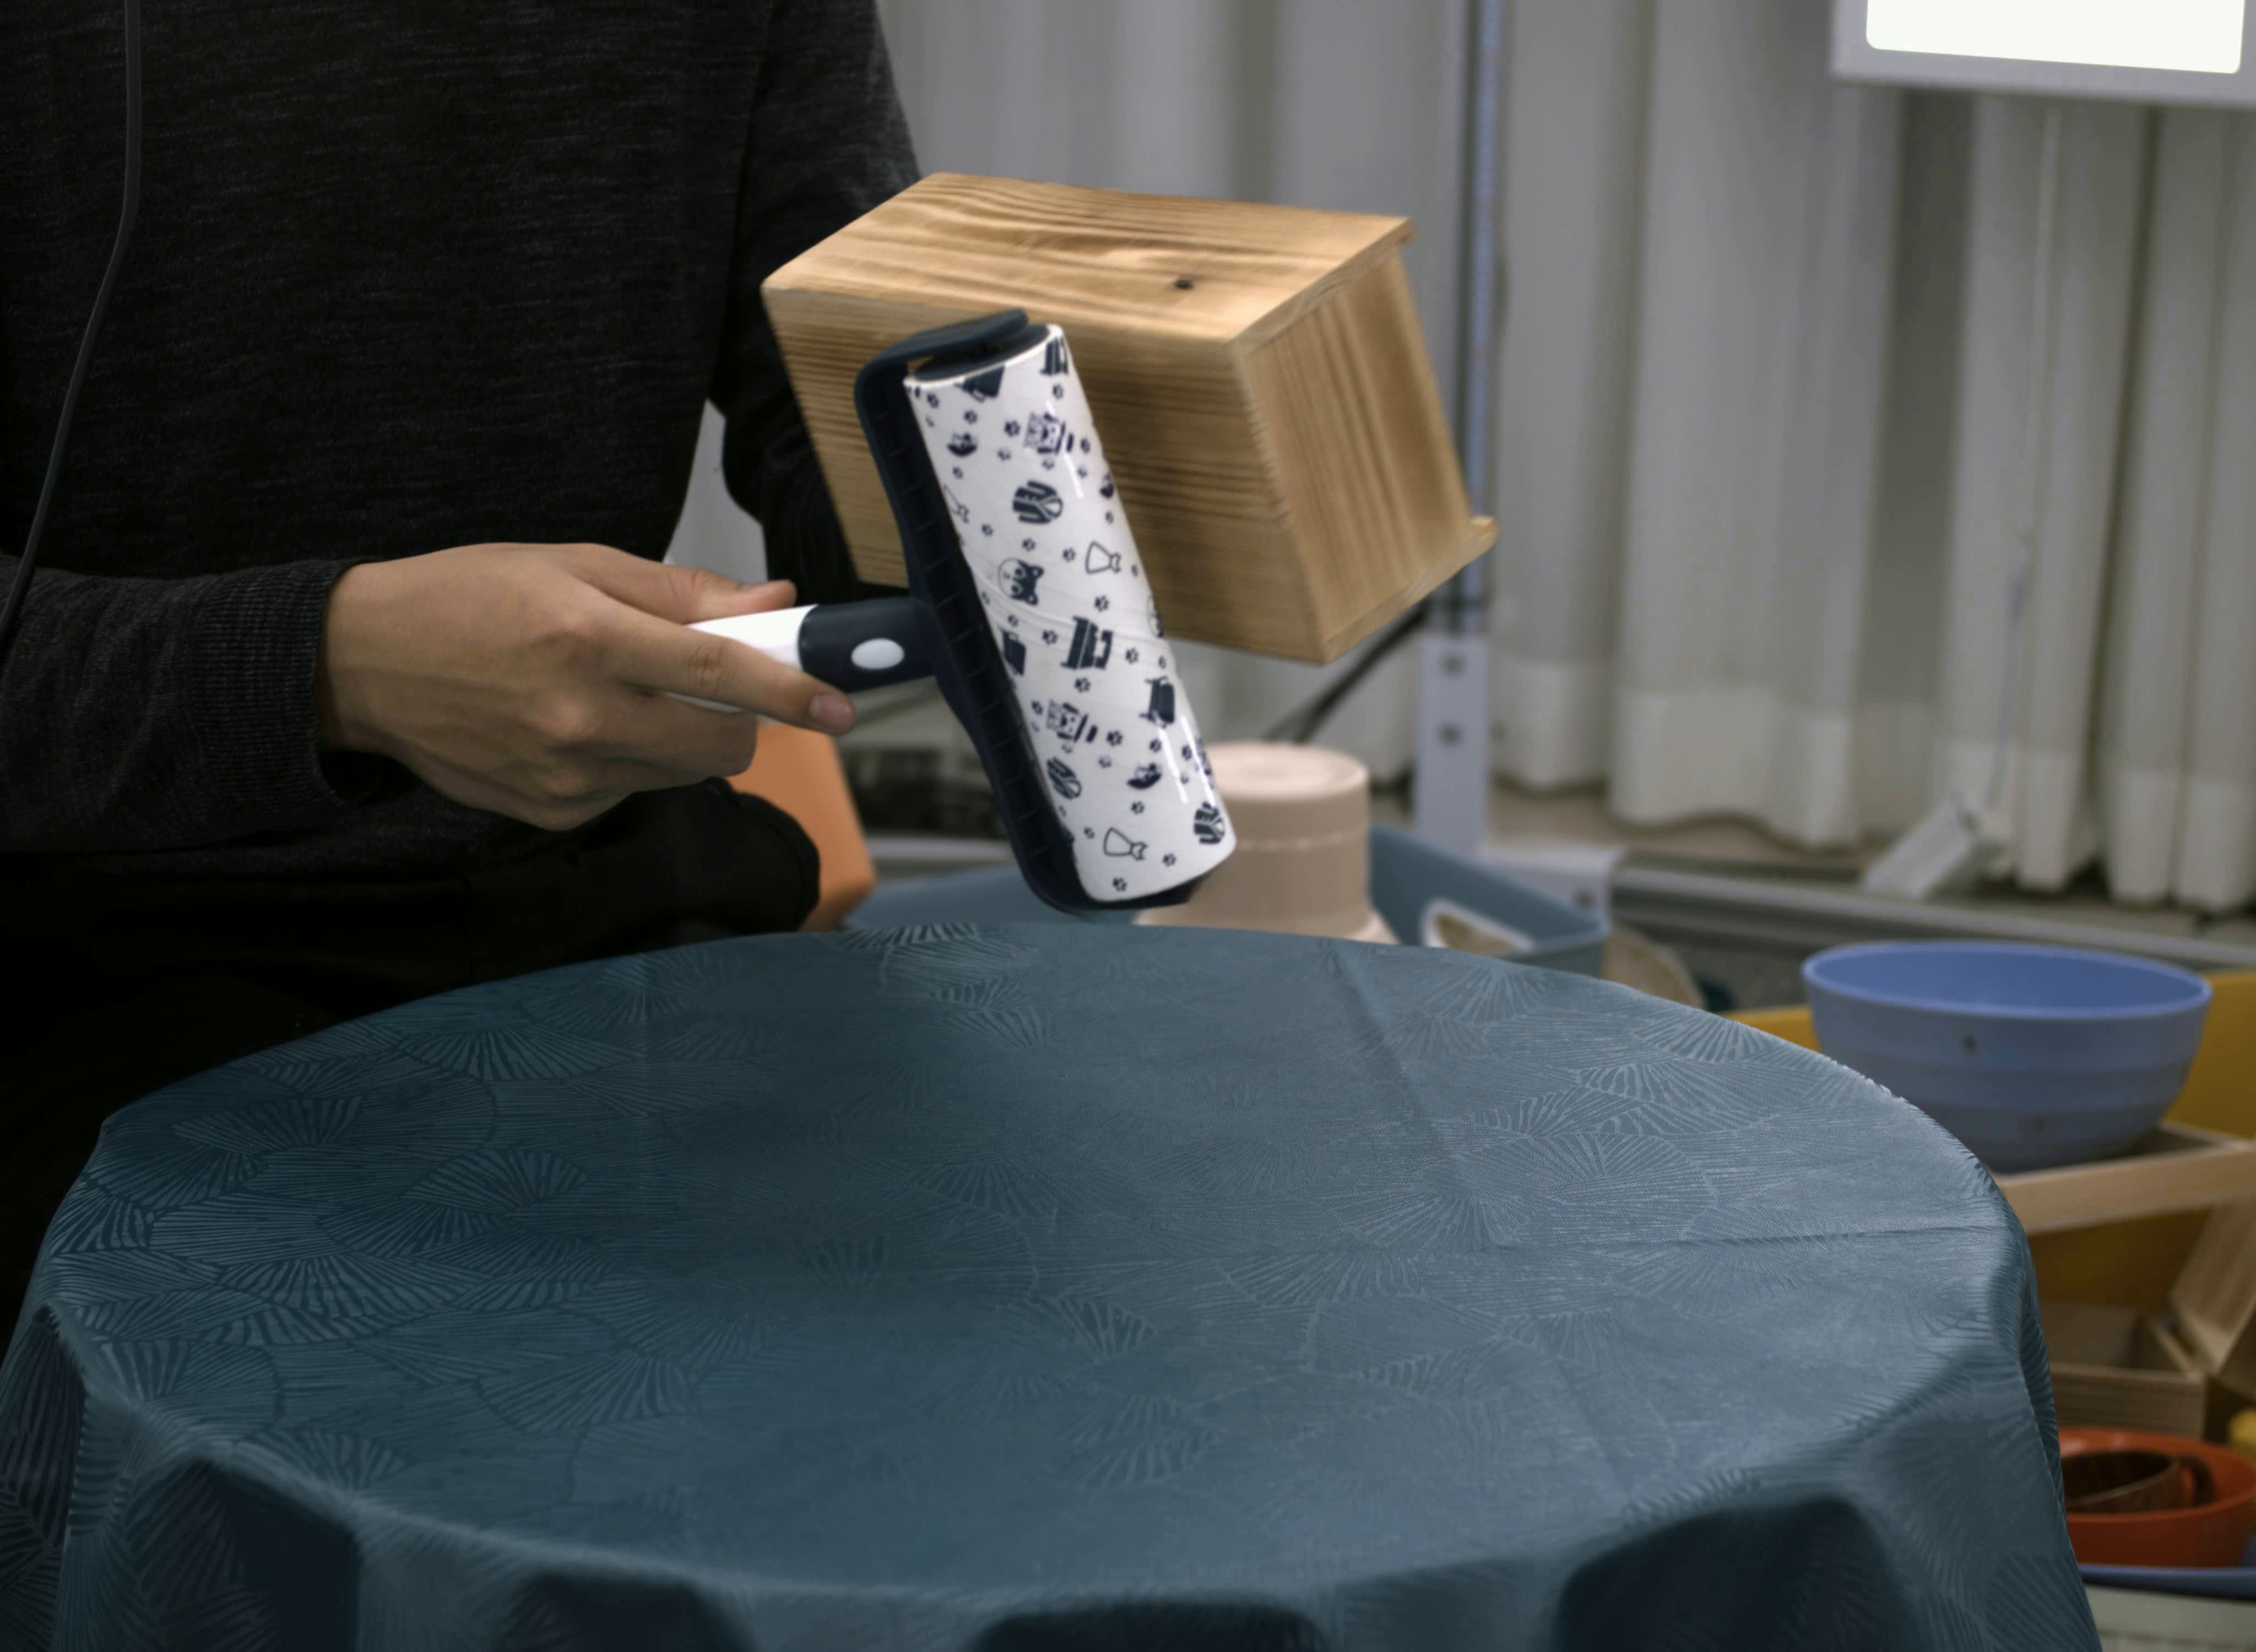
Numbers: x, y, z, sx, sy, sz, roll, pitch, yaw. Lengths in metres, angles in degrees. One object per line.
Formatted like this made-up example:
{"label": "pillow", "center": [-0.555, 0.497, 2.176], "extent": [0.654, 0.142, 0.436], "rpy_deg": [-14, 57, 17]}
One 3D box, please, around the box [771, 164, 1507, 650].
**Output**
{"label": "box", "center": [0.001, -0.129, 1.572], "extent": [0.208, 0.109, 0.080], "rpy_deg": [12, 38, 45]}

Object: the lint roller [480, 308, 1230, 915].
{"label": "lint roller", "center": [-0.098, -0.047, 1.540], "extent": [0.245, 0.178, 0.050], "rpy_deg": [-9, 20, 34]}
